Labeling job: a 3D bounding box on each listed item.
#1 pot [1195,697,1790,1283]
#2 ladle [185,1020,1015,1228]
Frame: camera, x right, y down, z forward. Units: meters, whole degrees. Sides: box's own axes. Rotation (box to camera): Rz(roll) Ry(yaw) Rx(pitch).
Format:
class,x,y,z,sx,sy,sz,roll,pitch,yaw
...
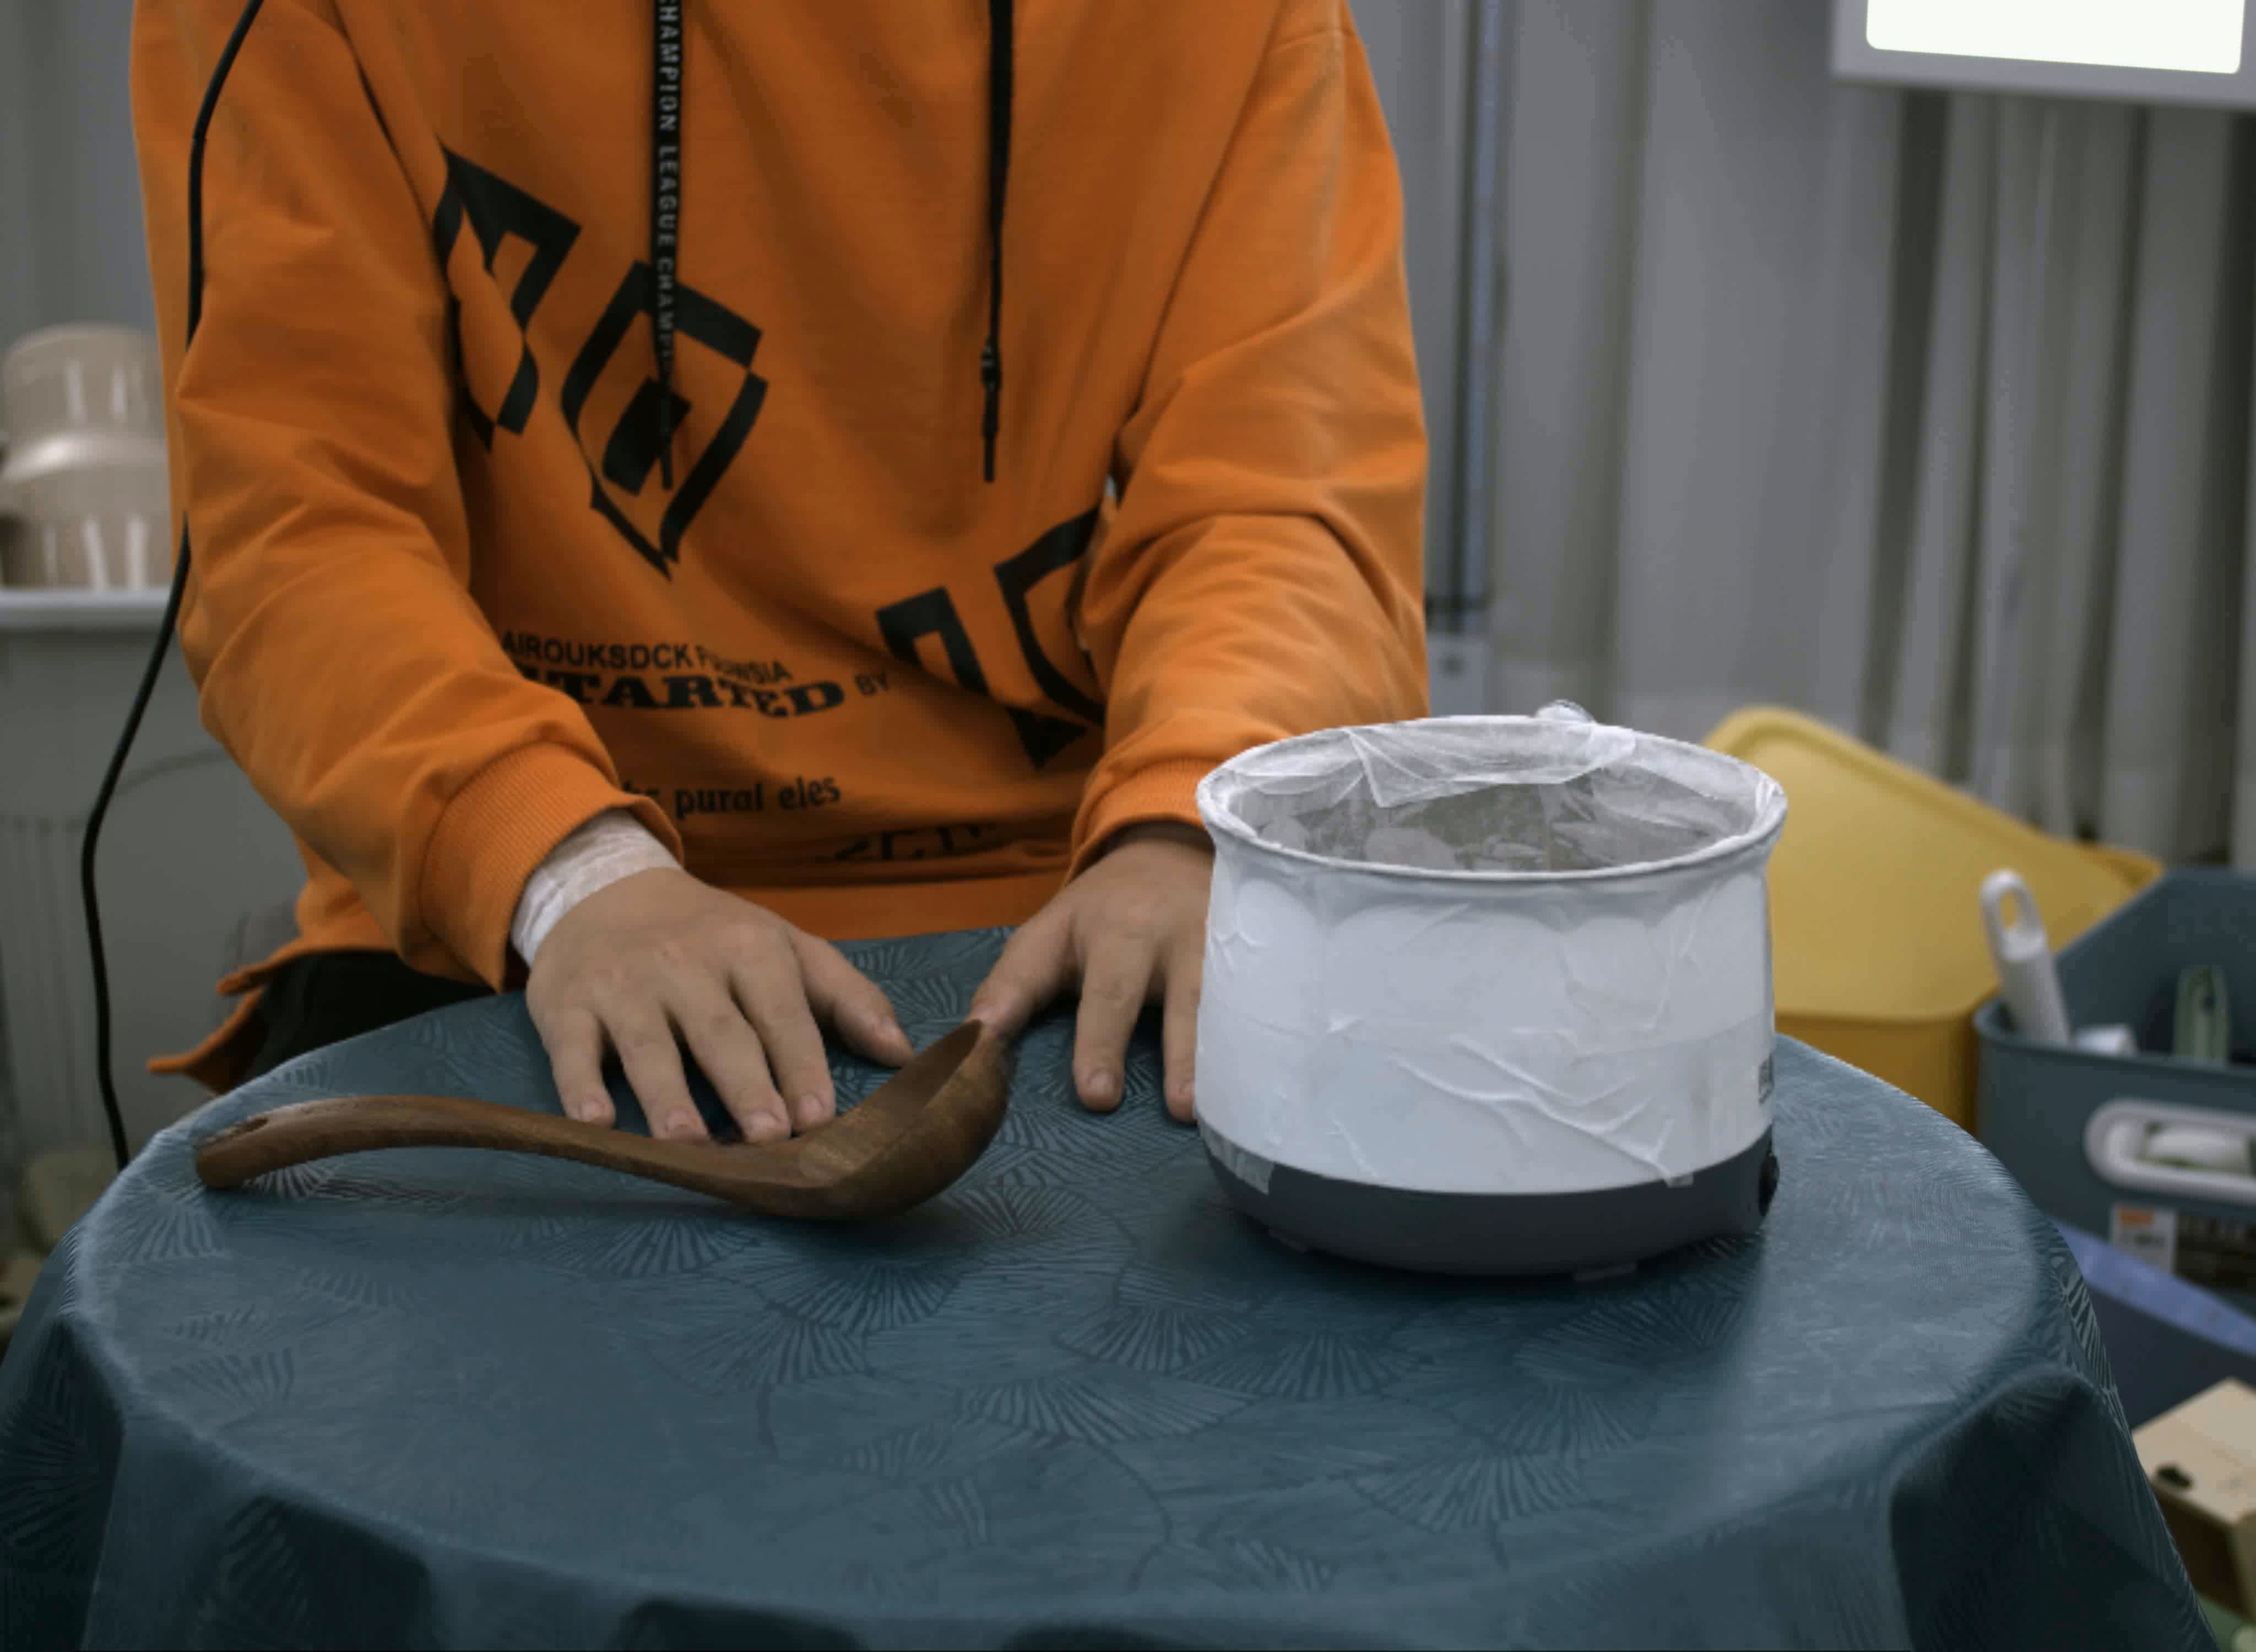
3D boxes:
class,x,y,z,sx,sy,sz,roll,pitch,yaw
pot,0.116,0.044,1.615,0.177,0.138,0.233,5,17,14
ladle,-0.162,0.085,1.596,0.258,0.065,0.076,3,17,9
